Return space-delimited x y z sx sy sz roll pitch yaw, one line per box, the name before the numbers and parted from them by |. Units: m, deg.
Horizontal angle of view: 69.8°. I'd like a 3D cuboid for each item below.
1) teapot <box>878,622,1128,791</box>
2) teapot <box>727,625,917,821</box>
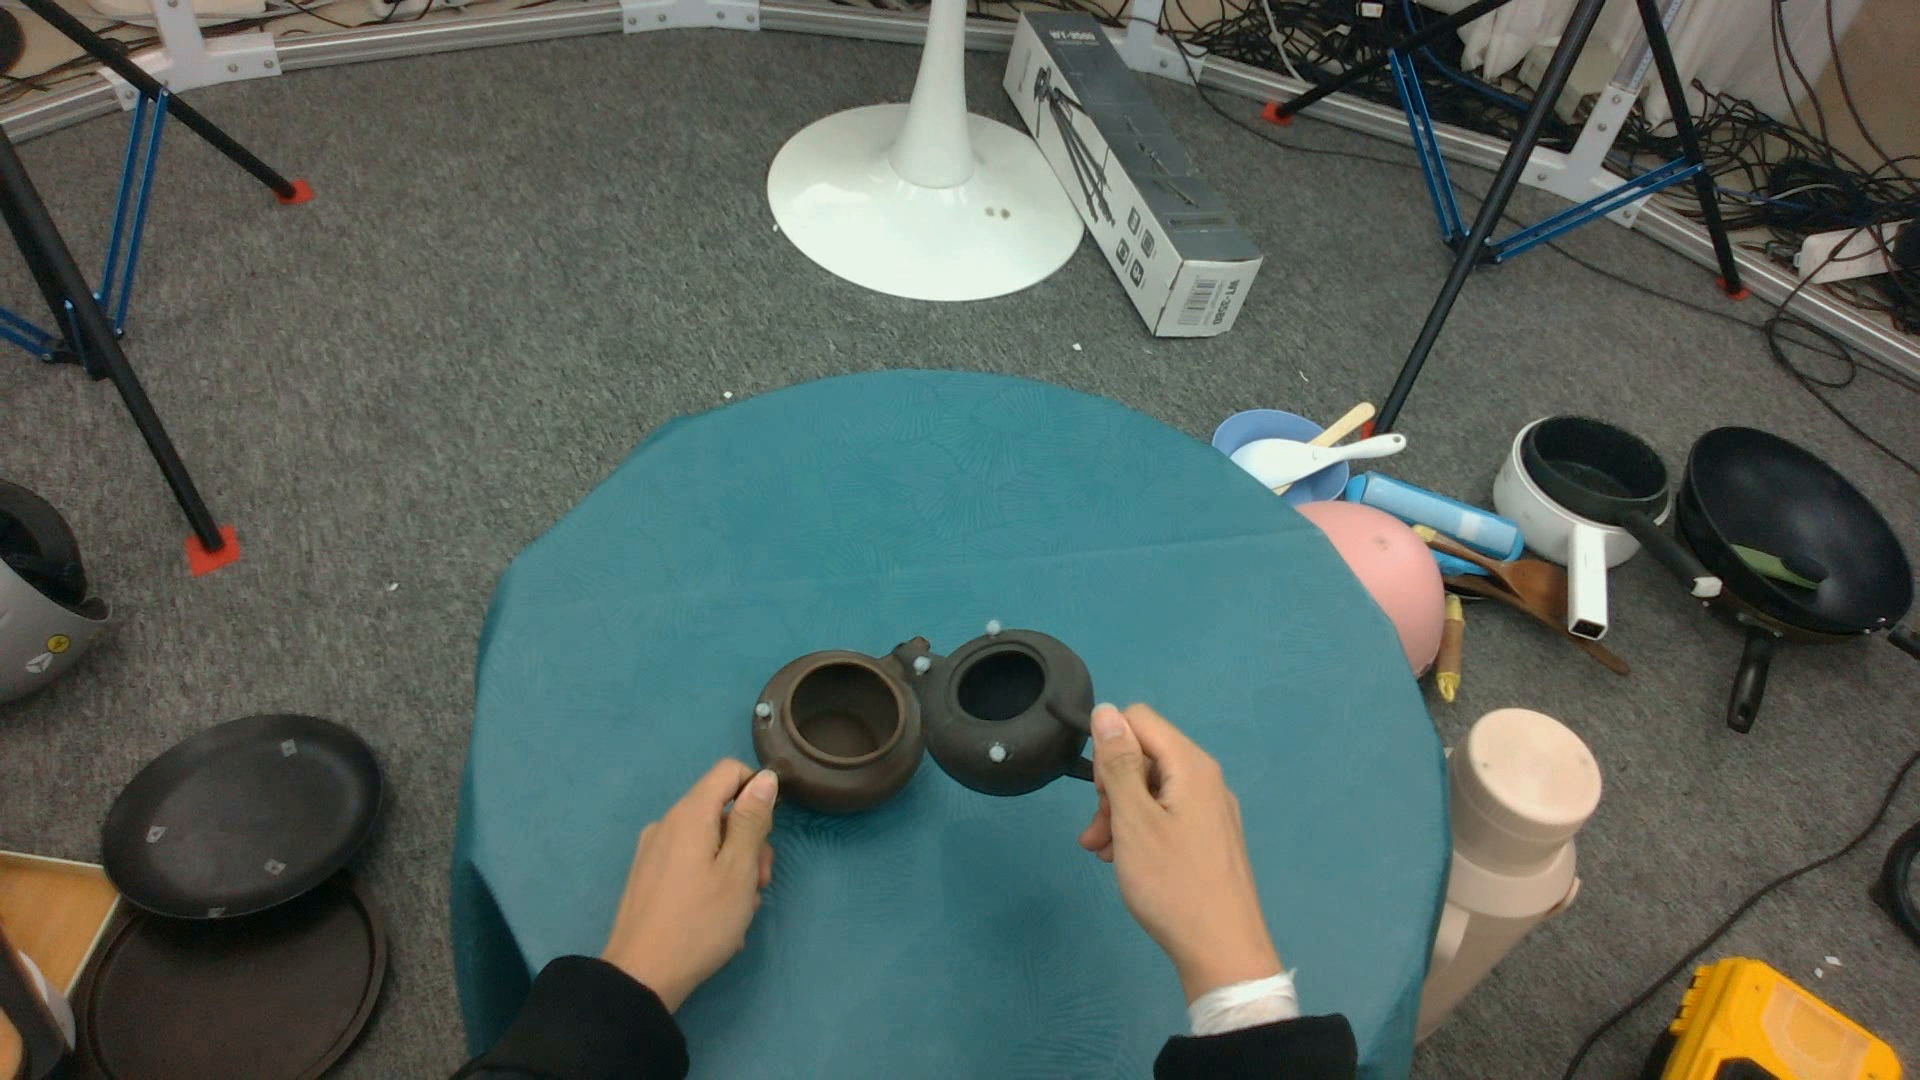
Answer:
teapot | 0.022 0.088 0.715 0.154 0.064 0.093 17 54 36
teapot | -0.078 0.108 0.797 0.102 0.053 0.154 33 49 15
